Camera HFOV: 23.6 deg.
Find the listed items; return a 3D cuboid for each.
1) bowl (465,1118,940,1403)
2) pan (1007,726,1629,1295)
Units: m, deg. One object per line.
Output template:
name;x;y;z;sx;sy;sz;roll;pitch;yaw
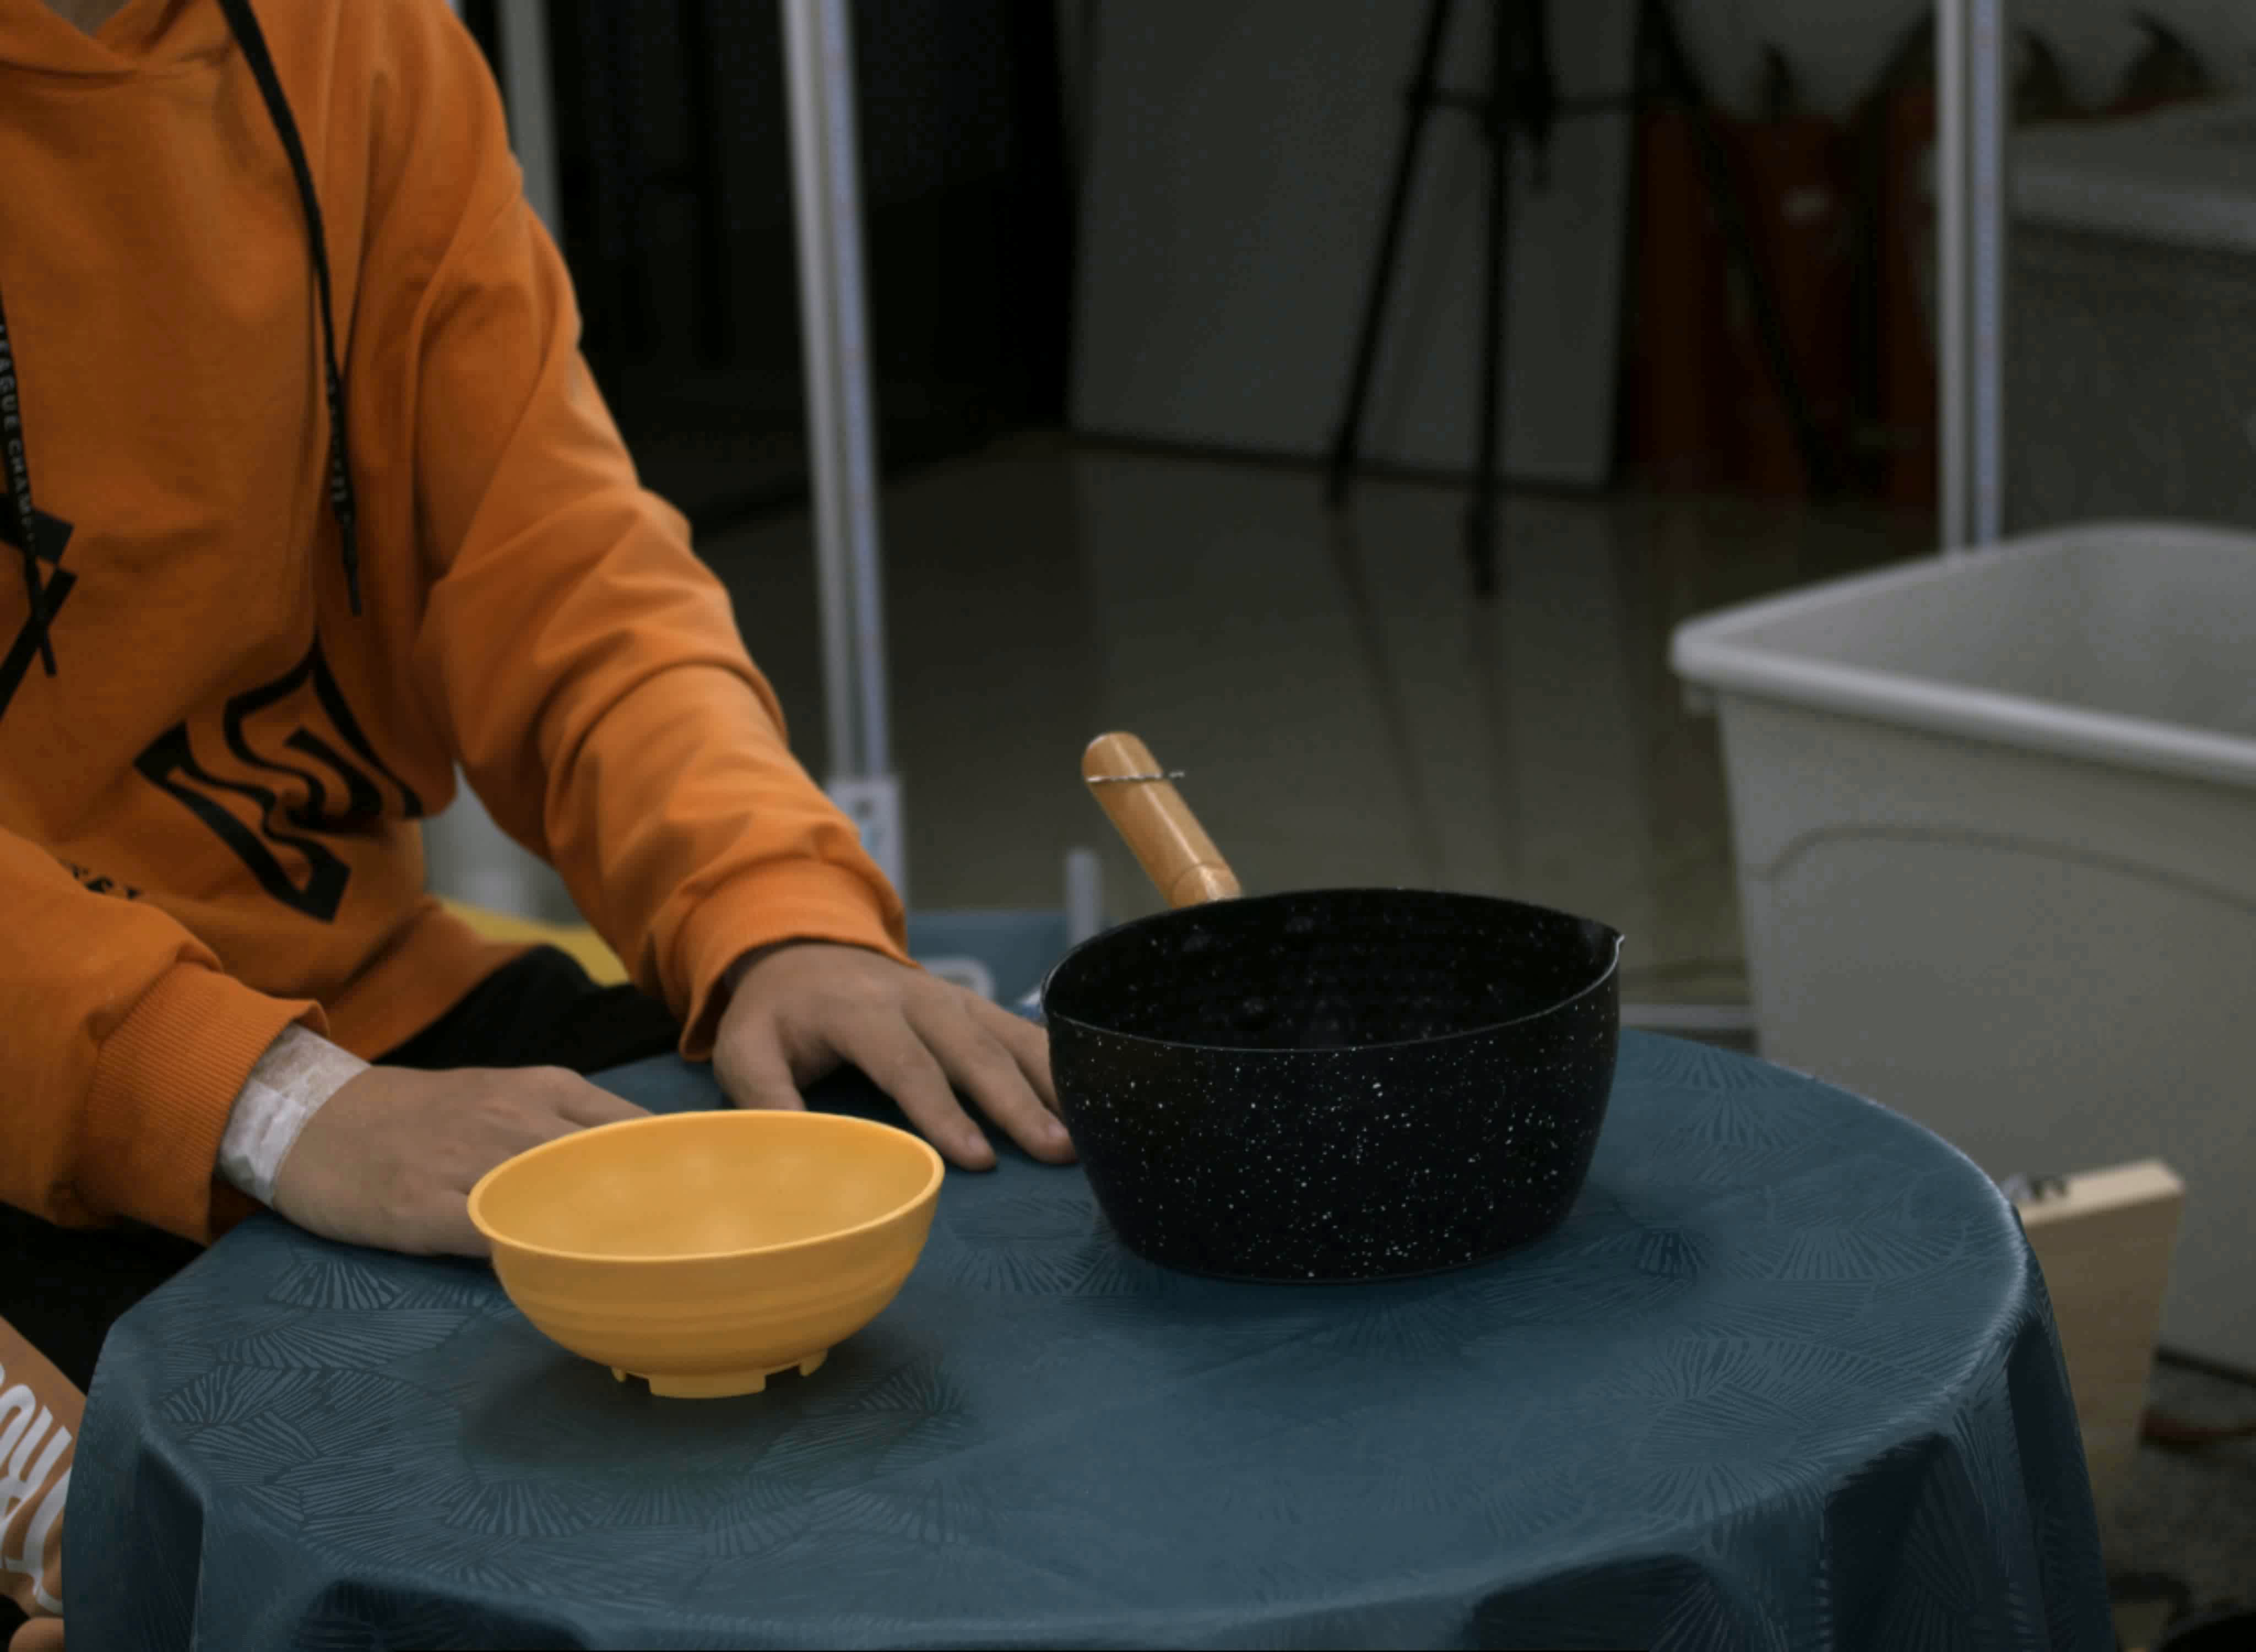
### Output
bowl;-0.126;0.135;1.629;0.143;0.061;0.145;-4;13;0
pan;0.043;0.056;1.796;0.203;0.109;0.345;-9;16;-15
